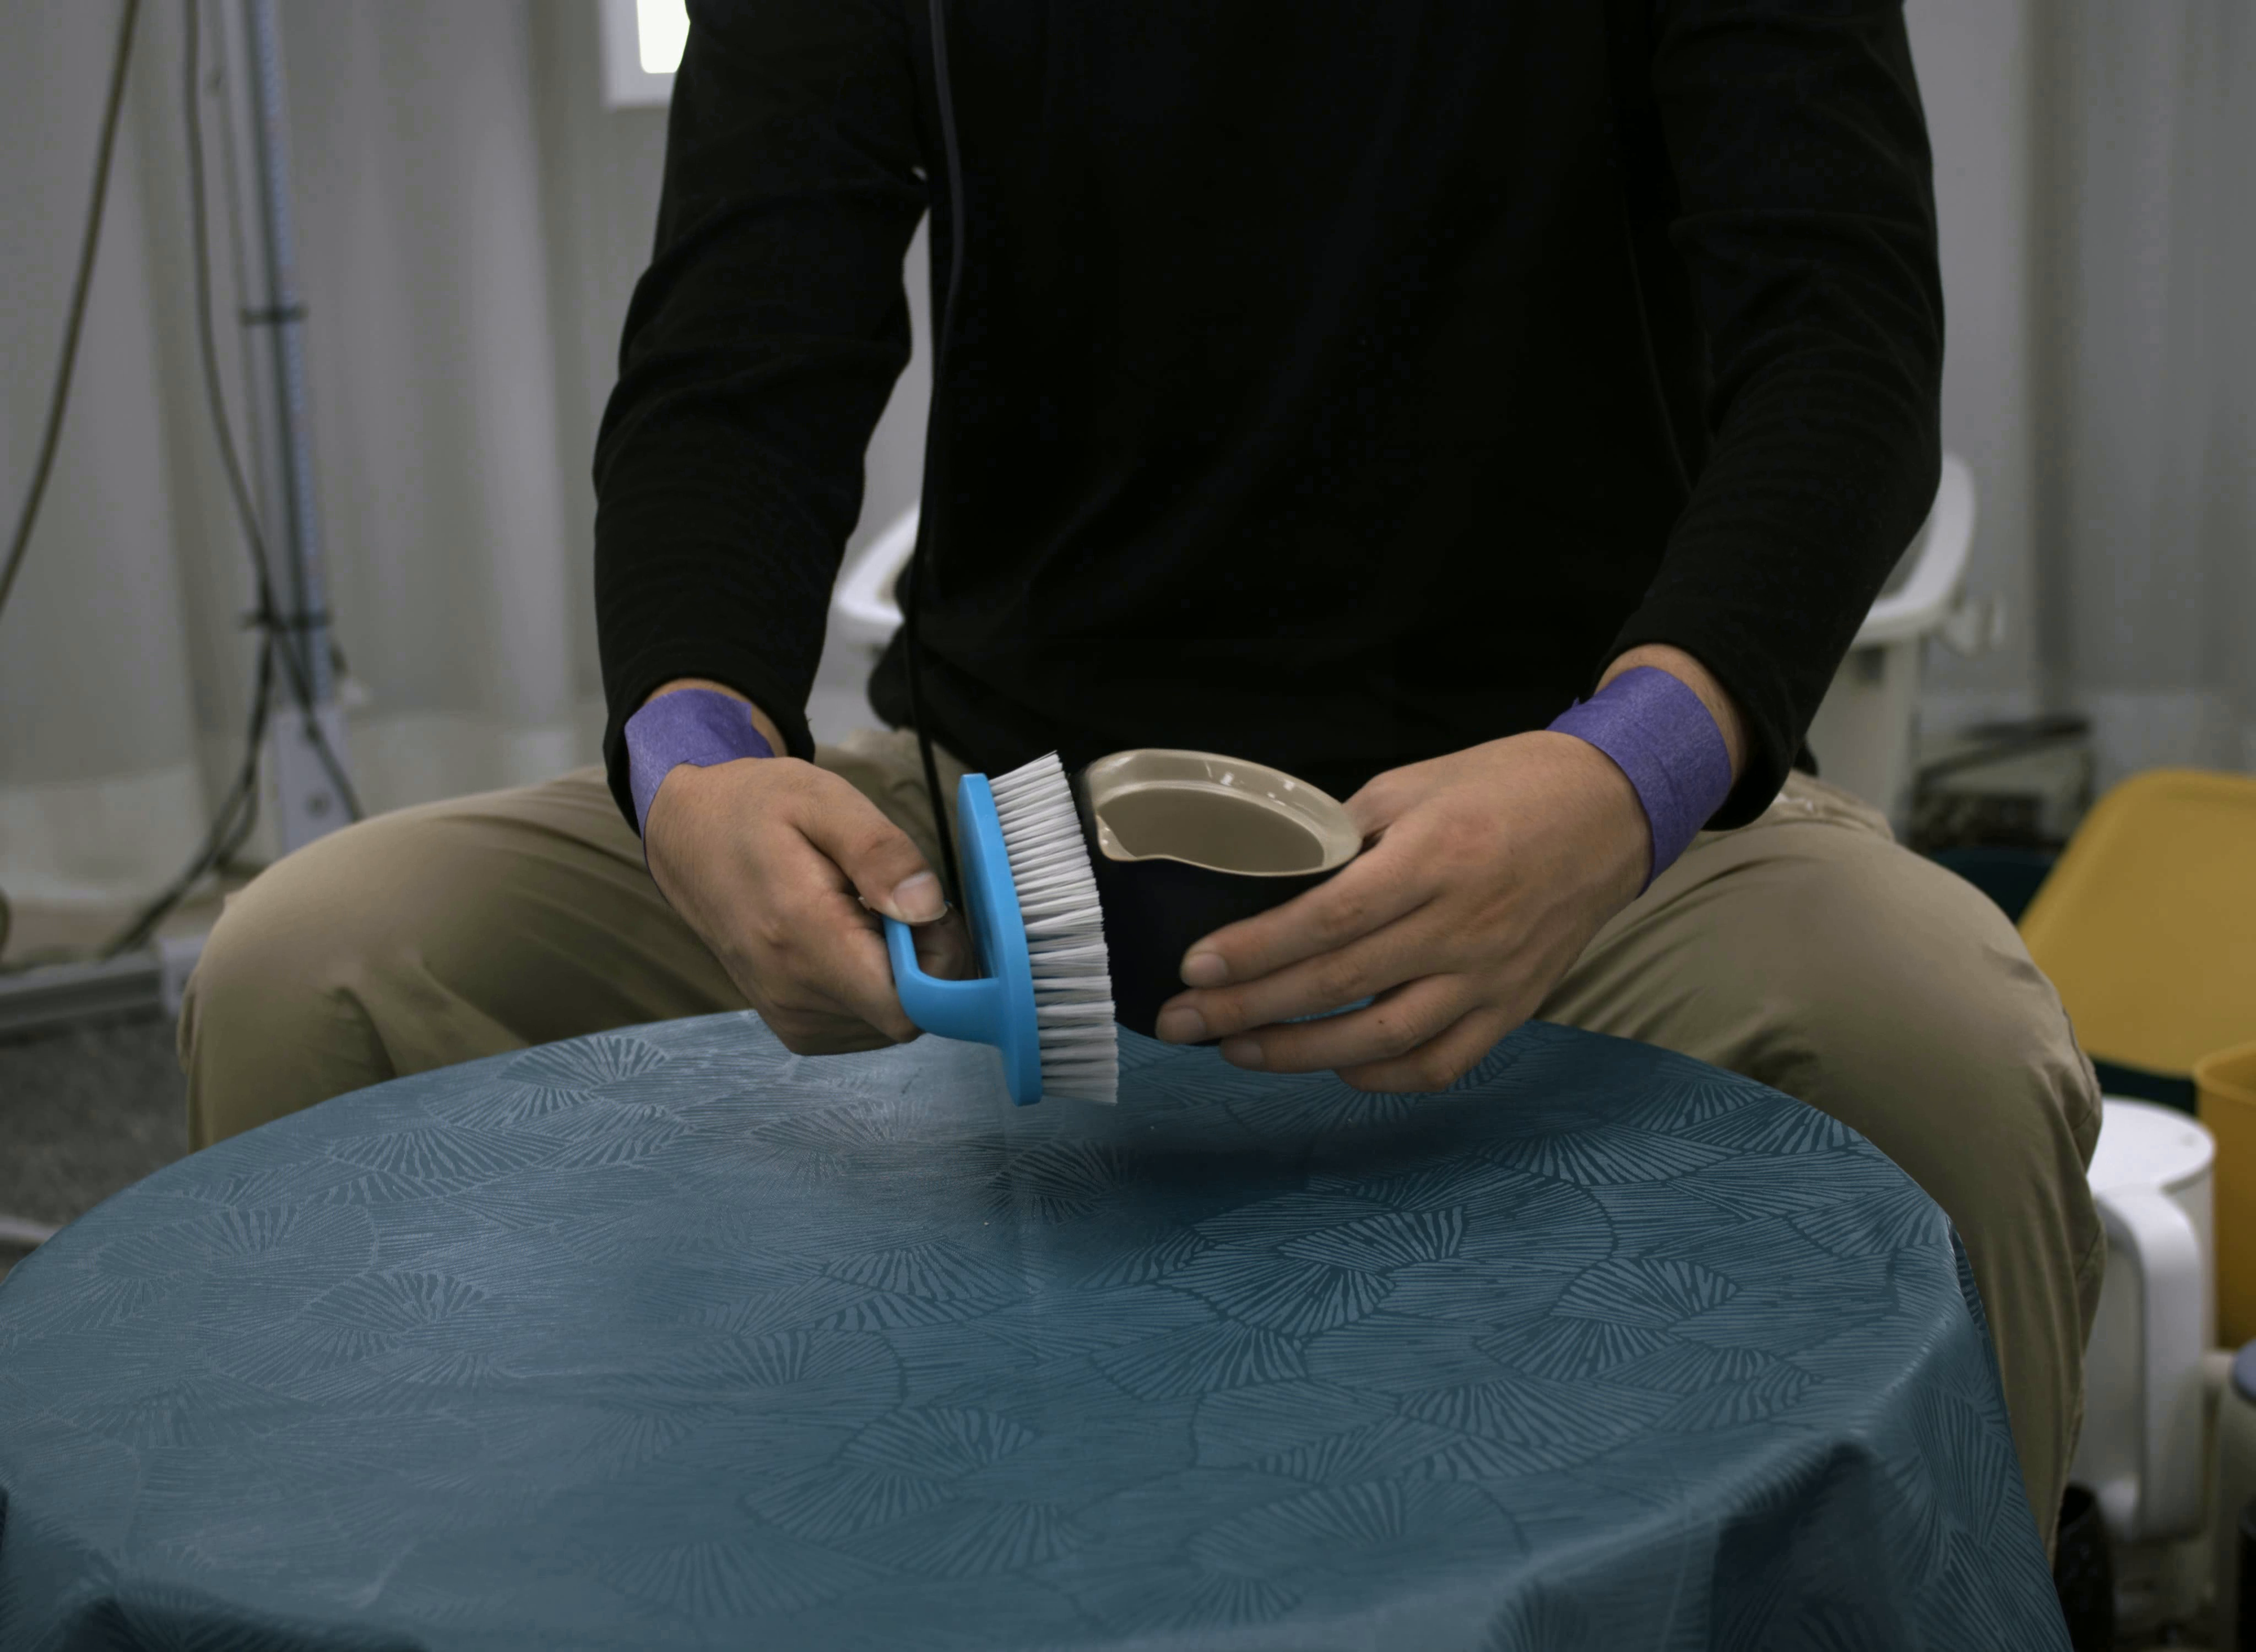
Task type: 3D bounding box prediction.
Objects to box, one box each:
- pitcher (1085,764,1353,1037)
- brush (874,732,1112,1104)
[{"bbox_3d":[0.022,0.025,1.725,0.096,0.071,0.084,-14,35,-44],"label":"pitcher"},{"bbox_3d":[-0.046,0.033,1.719,0.063,0.083,0.144,-10,32,-2],"label":"brush"}]
